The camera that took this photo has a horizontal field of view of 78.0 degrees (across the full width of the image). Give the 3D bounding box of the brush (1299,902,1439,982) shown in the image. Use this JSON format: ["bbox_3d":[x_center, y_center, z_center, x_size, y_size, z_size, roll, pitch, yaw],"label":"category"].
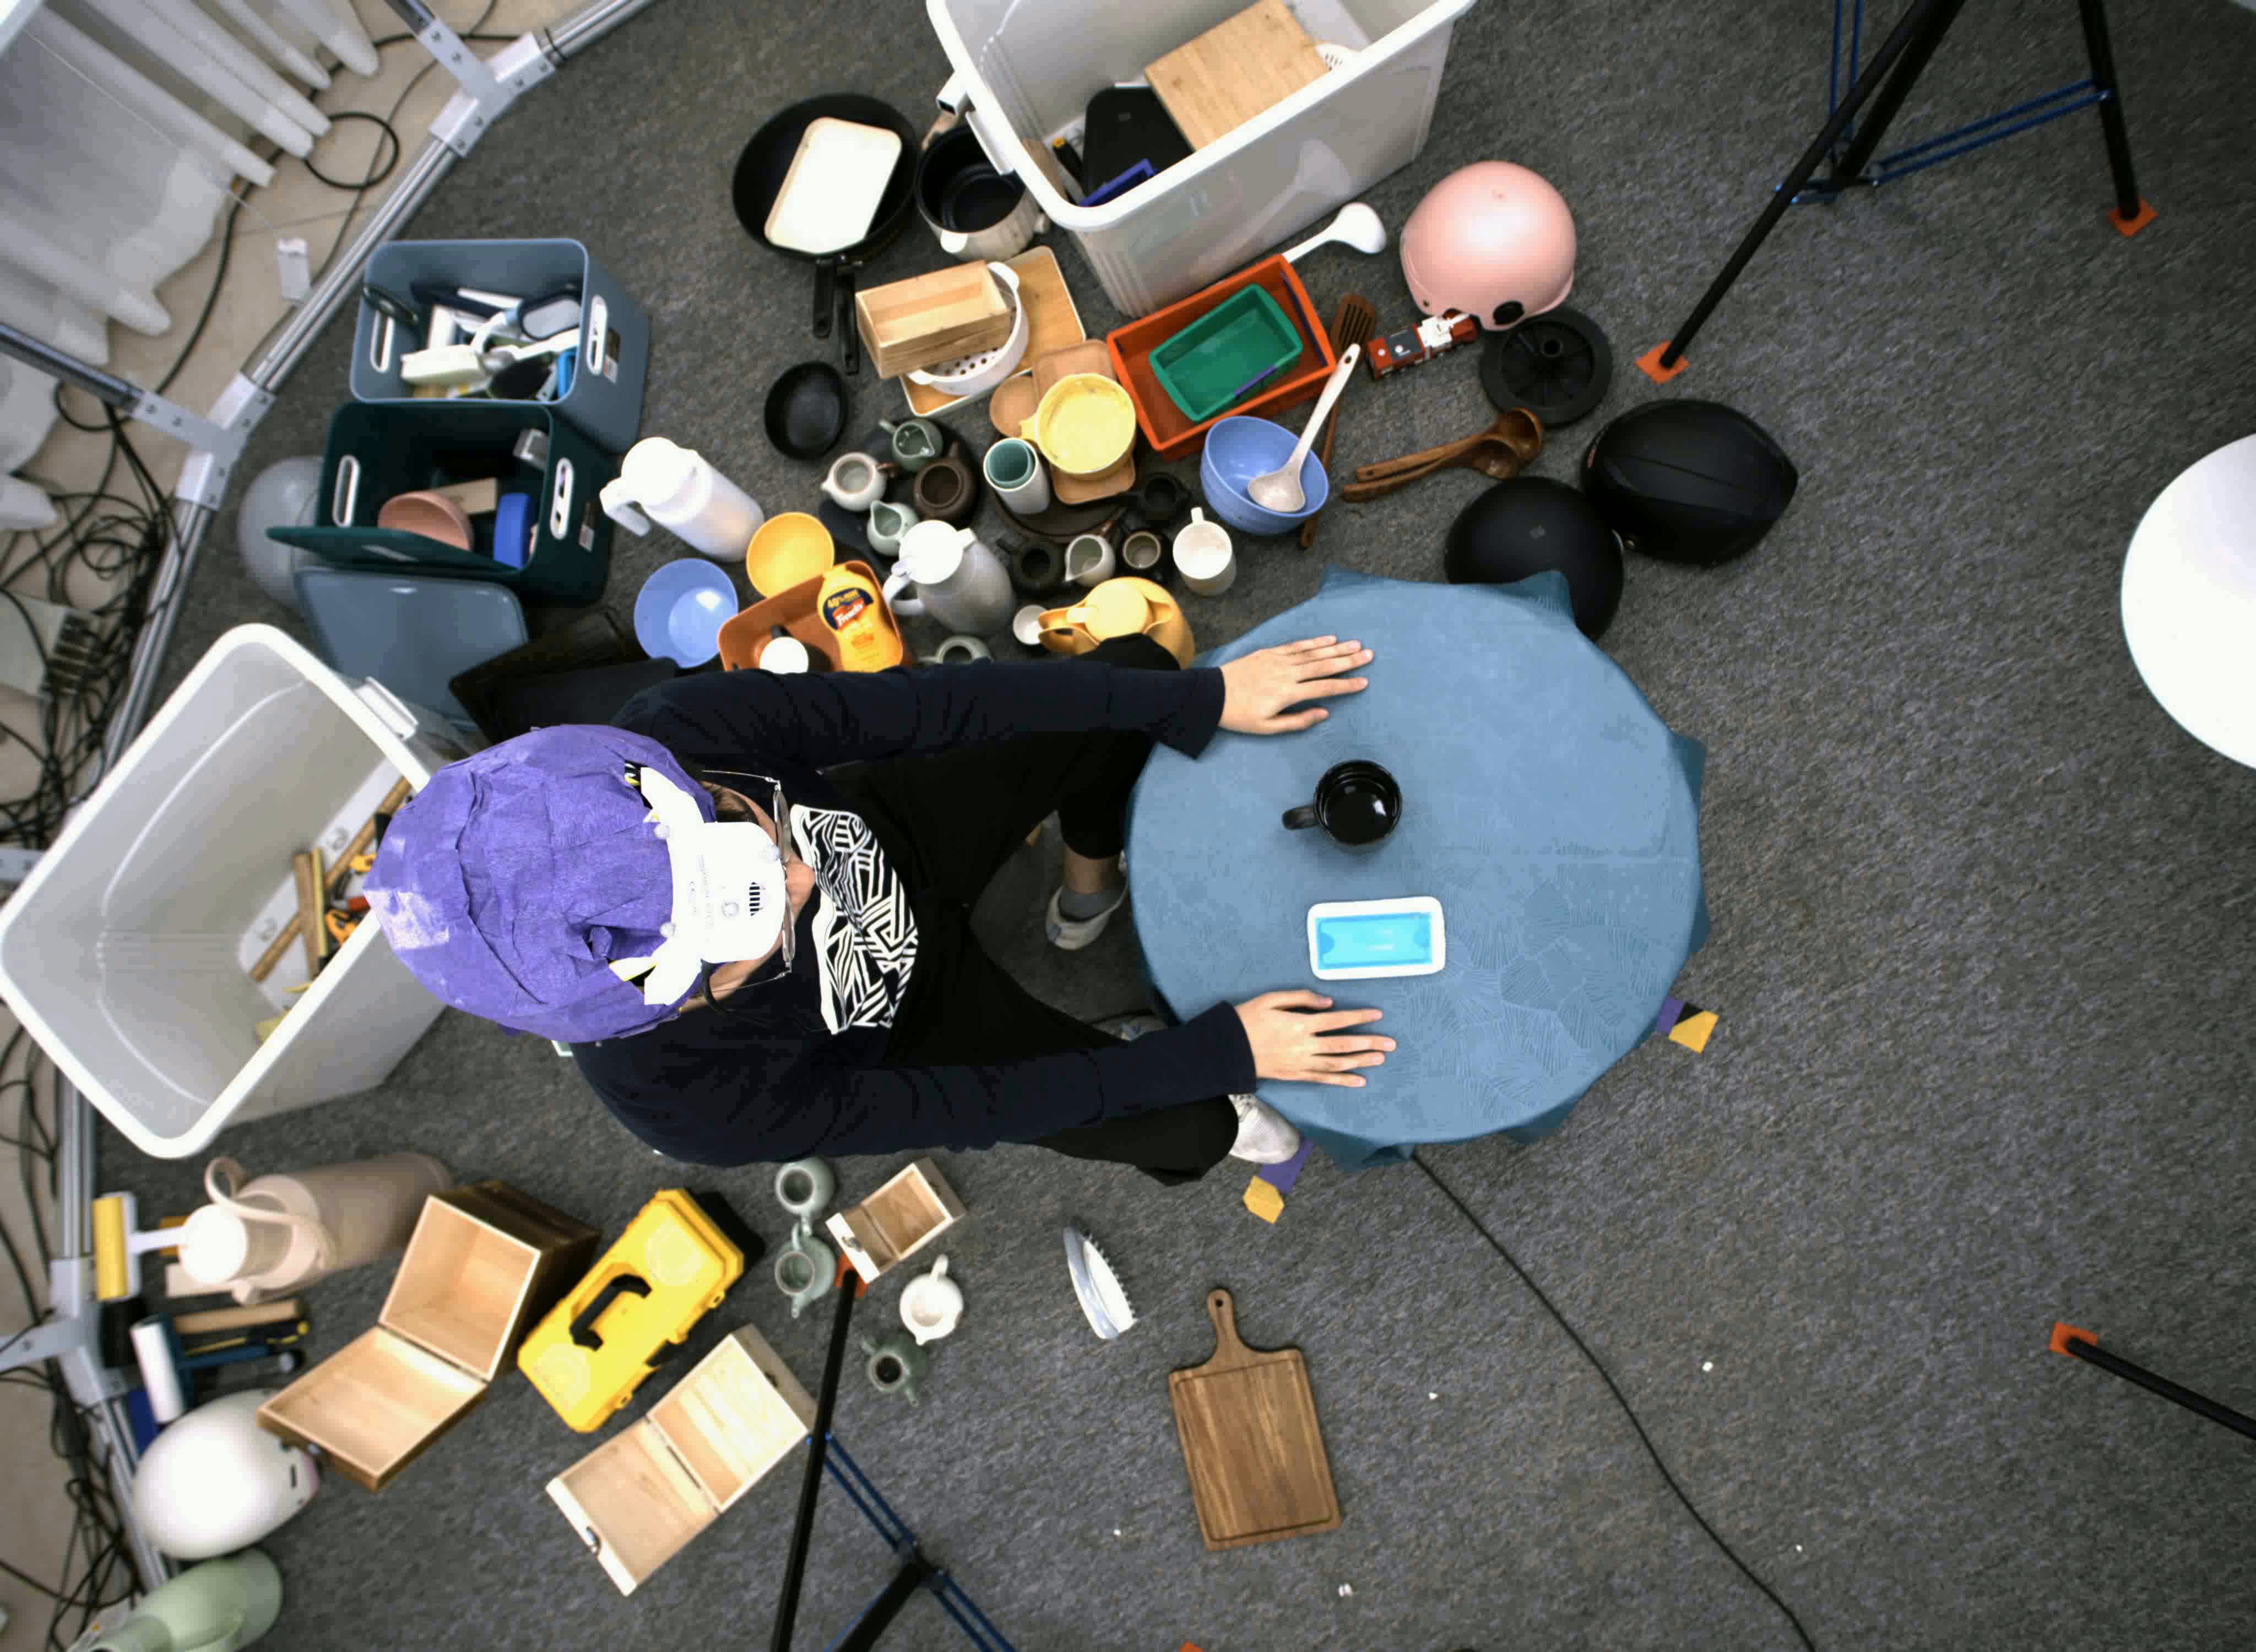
[{"bbox_3d":[0.250,0.117,1.429,0.144,0.056,0.083,-2,83,8],"label":"brush"}]

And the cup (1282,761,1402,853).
[{"bbox_3d":[0.220,-0.017,1.422,0.124,0.105,0.088,-9,86,12],"label":"cup"}]
